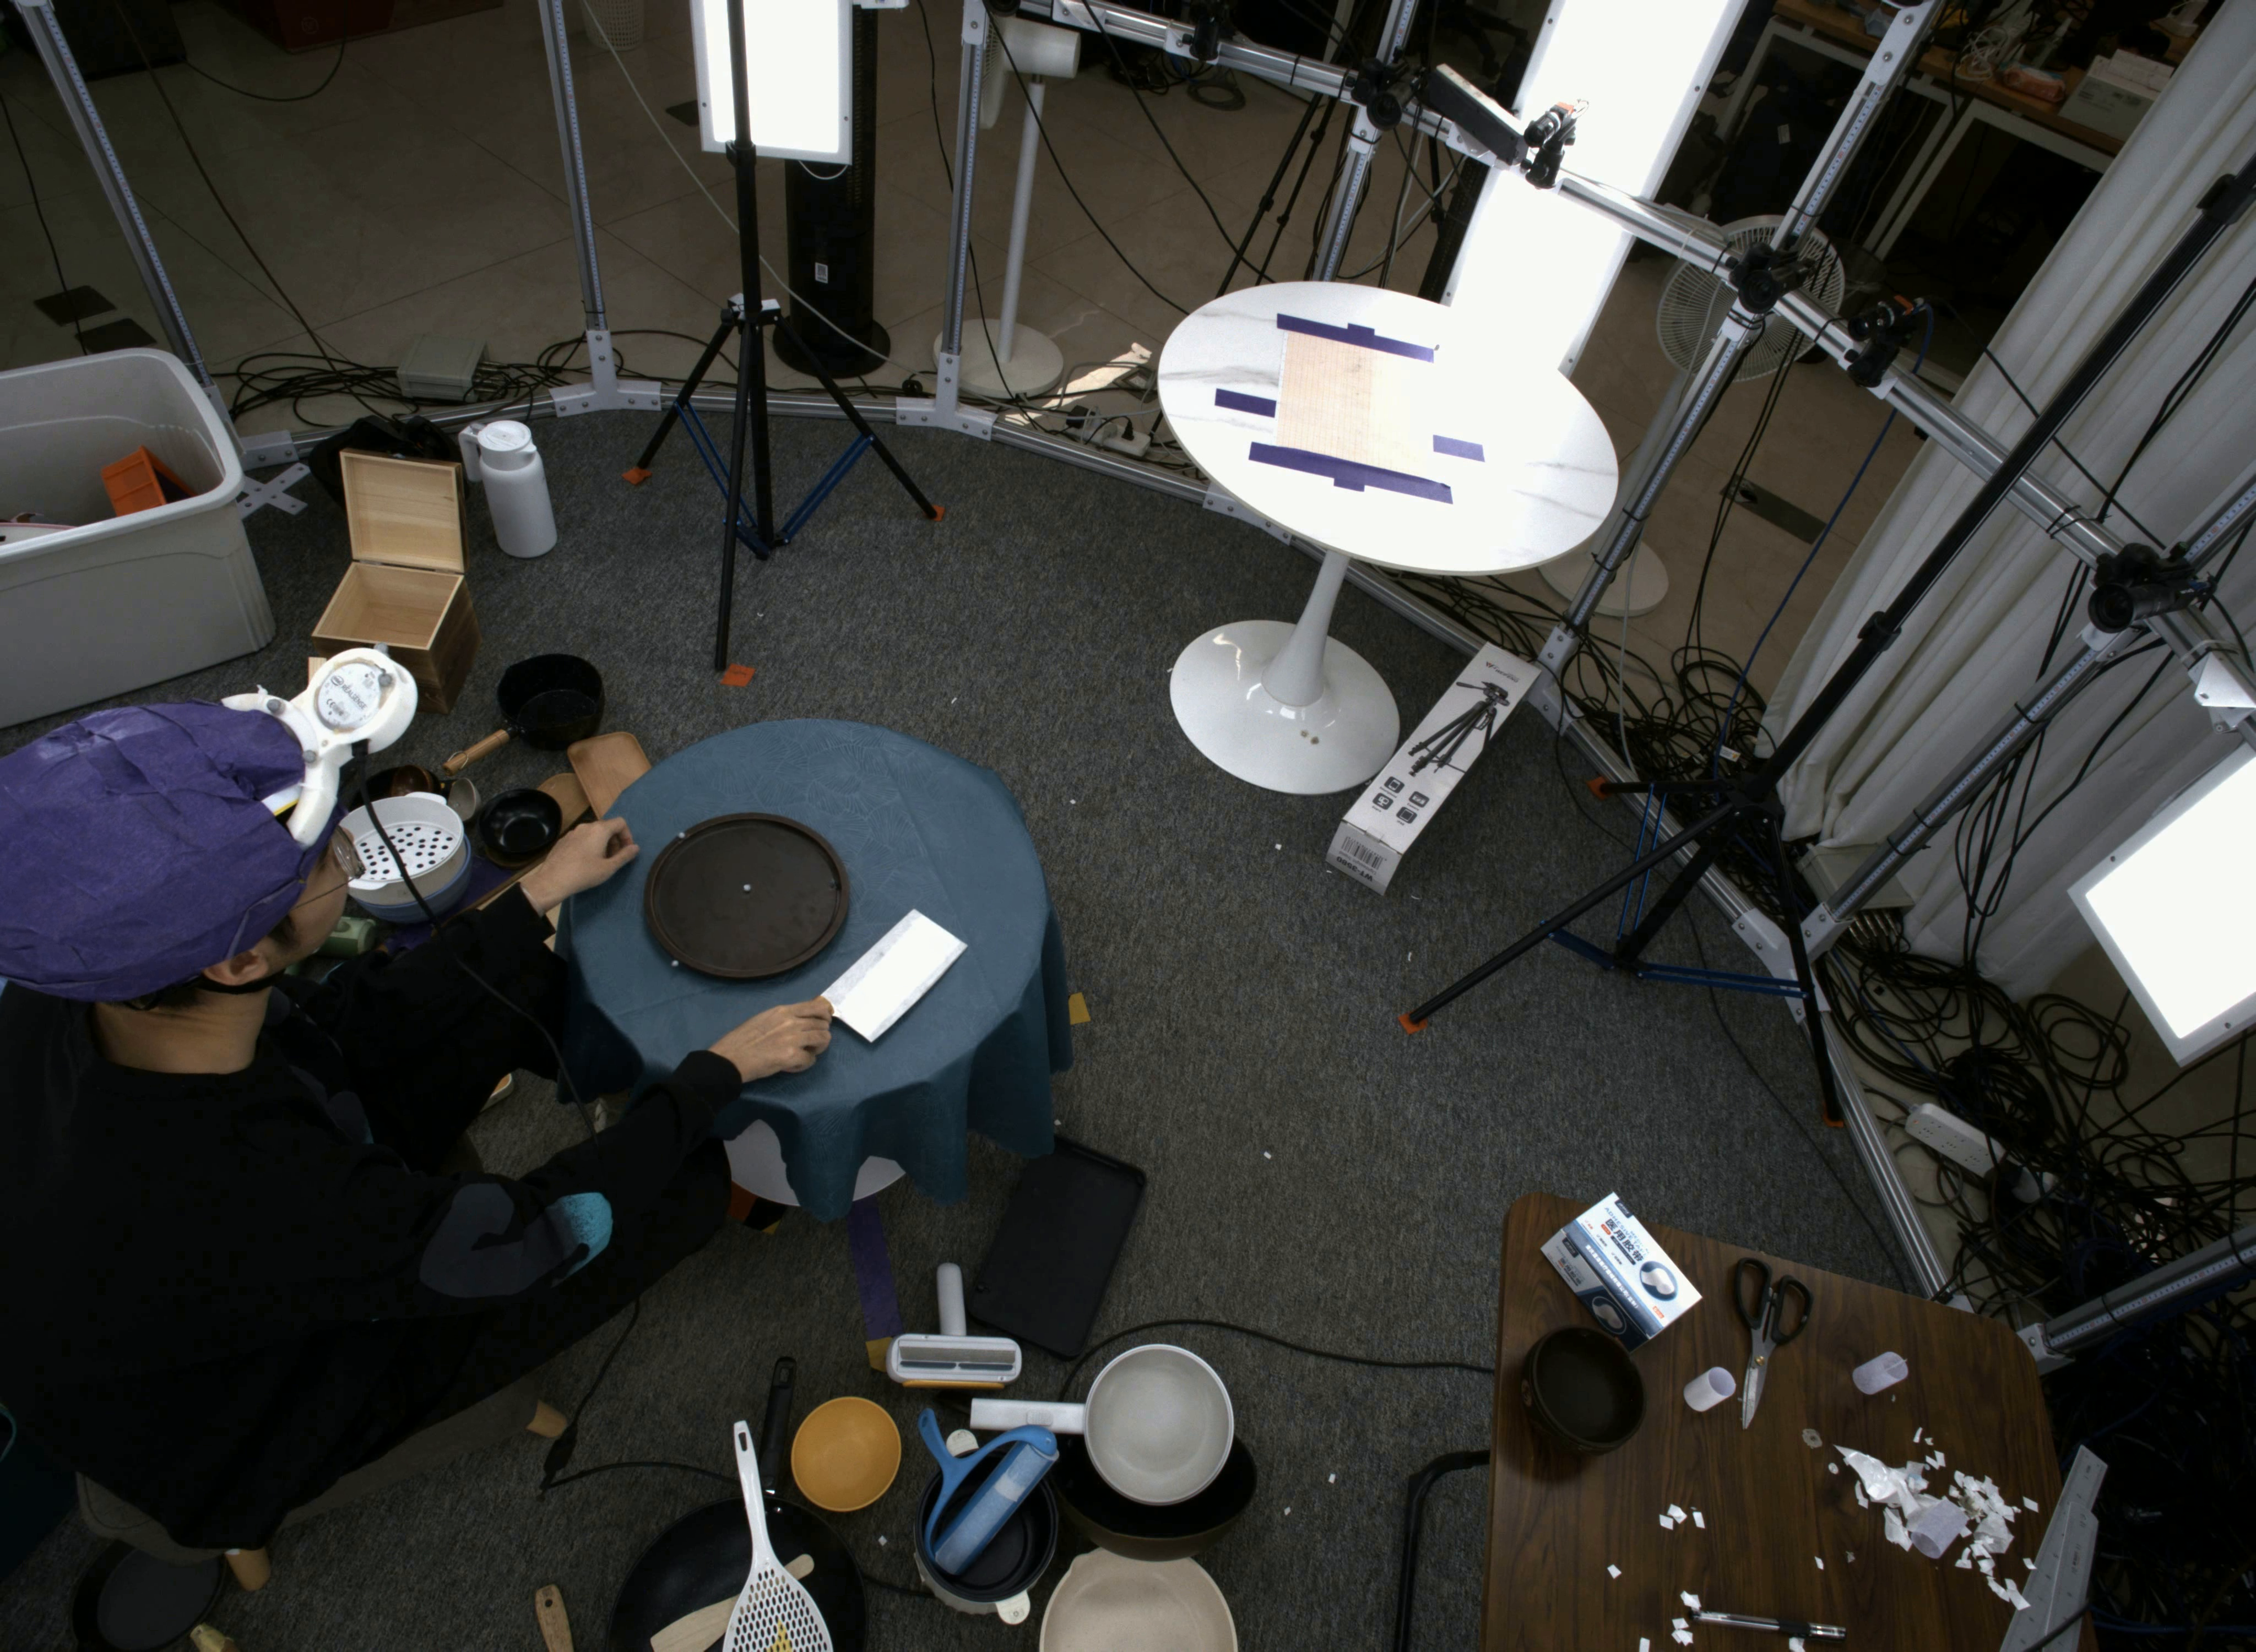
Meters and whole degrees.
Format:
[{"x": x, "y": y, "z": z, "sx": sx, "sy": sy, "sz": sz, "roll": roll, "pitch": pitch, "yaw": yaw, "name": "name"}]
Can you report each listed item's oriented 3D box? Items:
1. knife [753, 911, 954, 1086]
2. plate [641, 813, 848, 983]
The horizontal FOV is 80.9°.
[{"x": -0.320, "y": 0.212, "z": 1.568, "sx": 0.091, "sy": 0.021, "sz": 0.305, "roll": 34, "pitch": 49, "yaw": 10, "name": "knife"}, {"x": -0.478, "y": 0.086, "z": 1.618, "sx": 0.254, "sy": 0.029, "sz": 0.250, "roll": 8, "pitch": 51, "yaw": -8, "name": "plate"}]
